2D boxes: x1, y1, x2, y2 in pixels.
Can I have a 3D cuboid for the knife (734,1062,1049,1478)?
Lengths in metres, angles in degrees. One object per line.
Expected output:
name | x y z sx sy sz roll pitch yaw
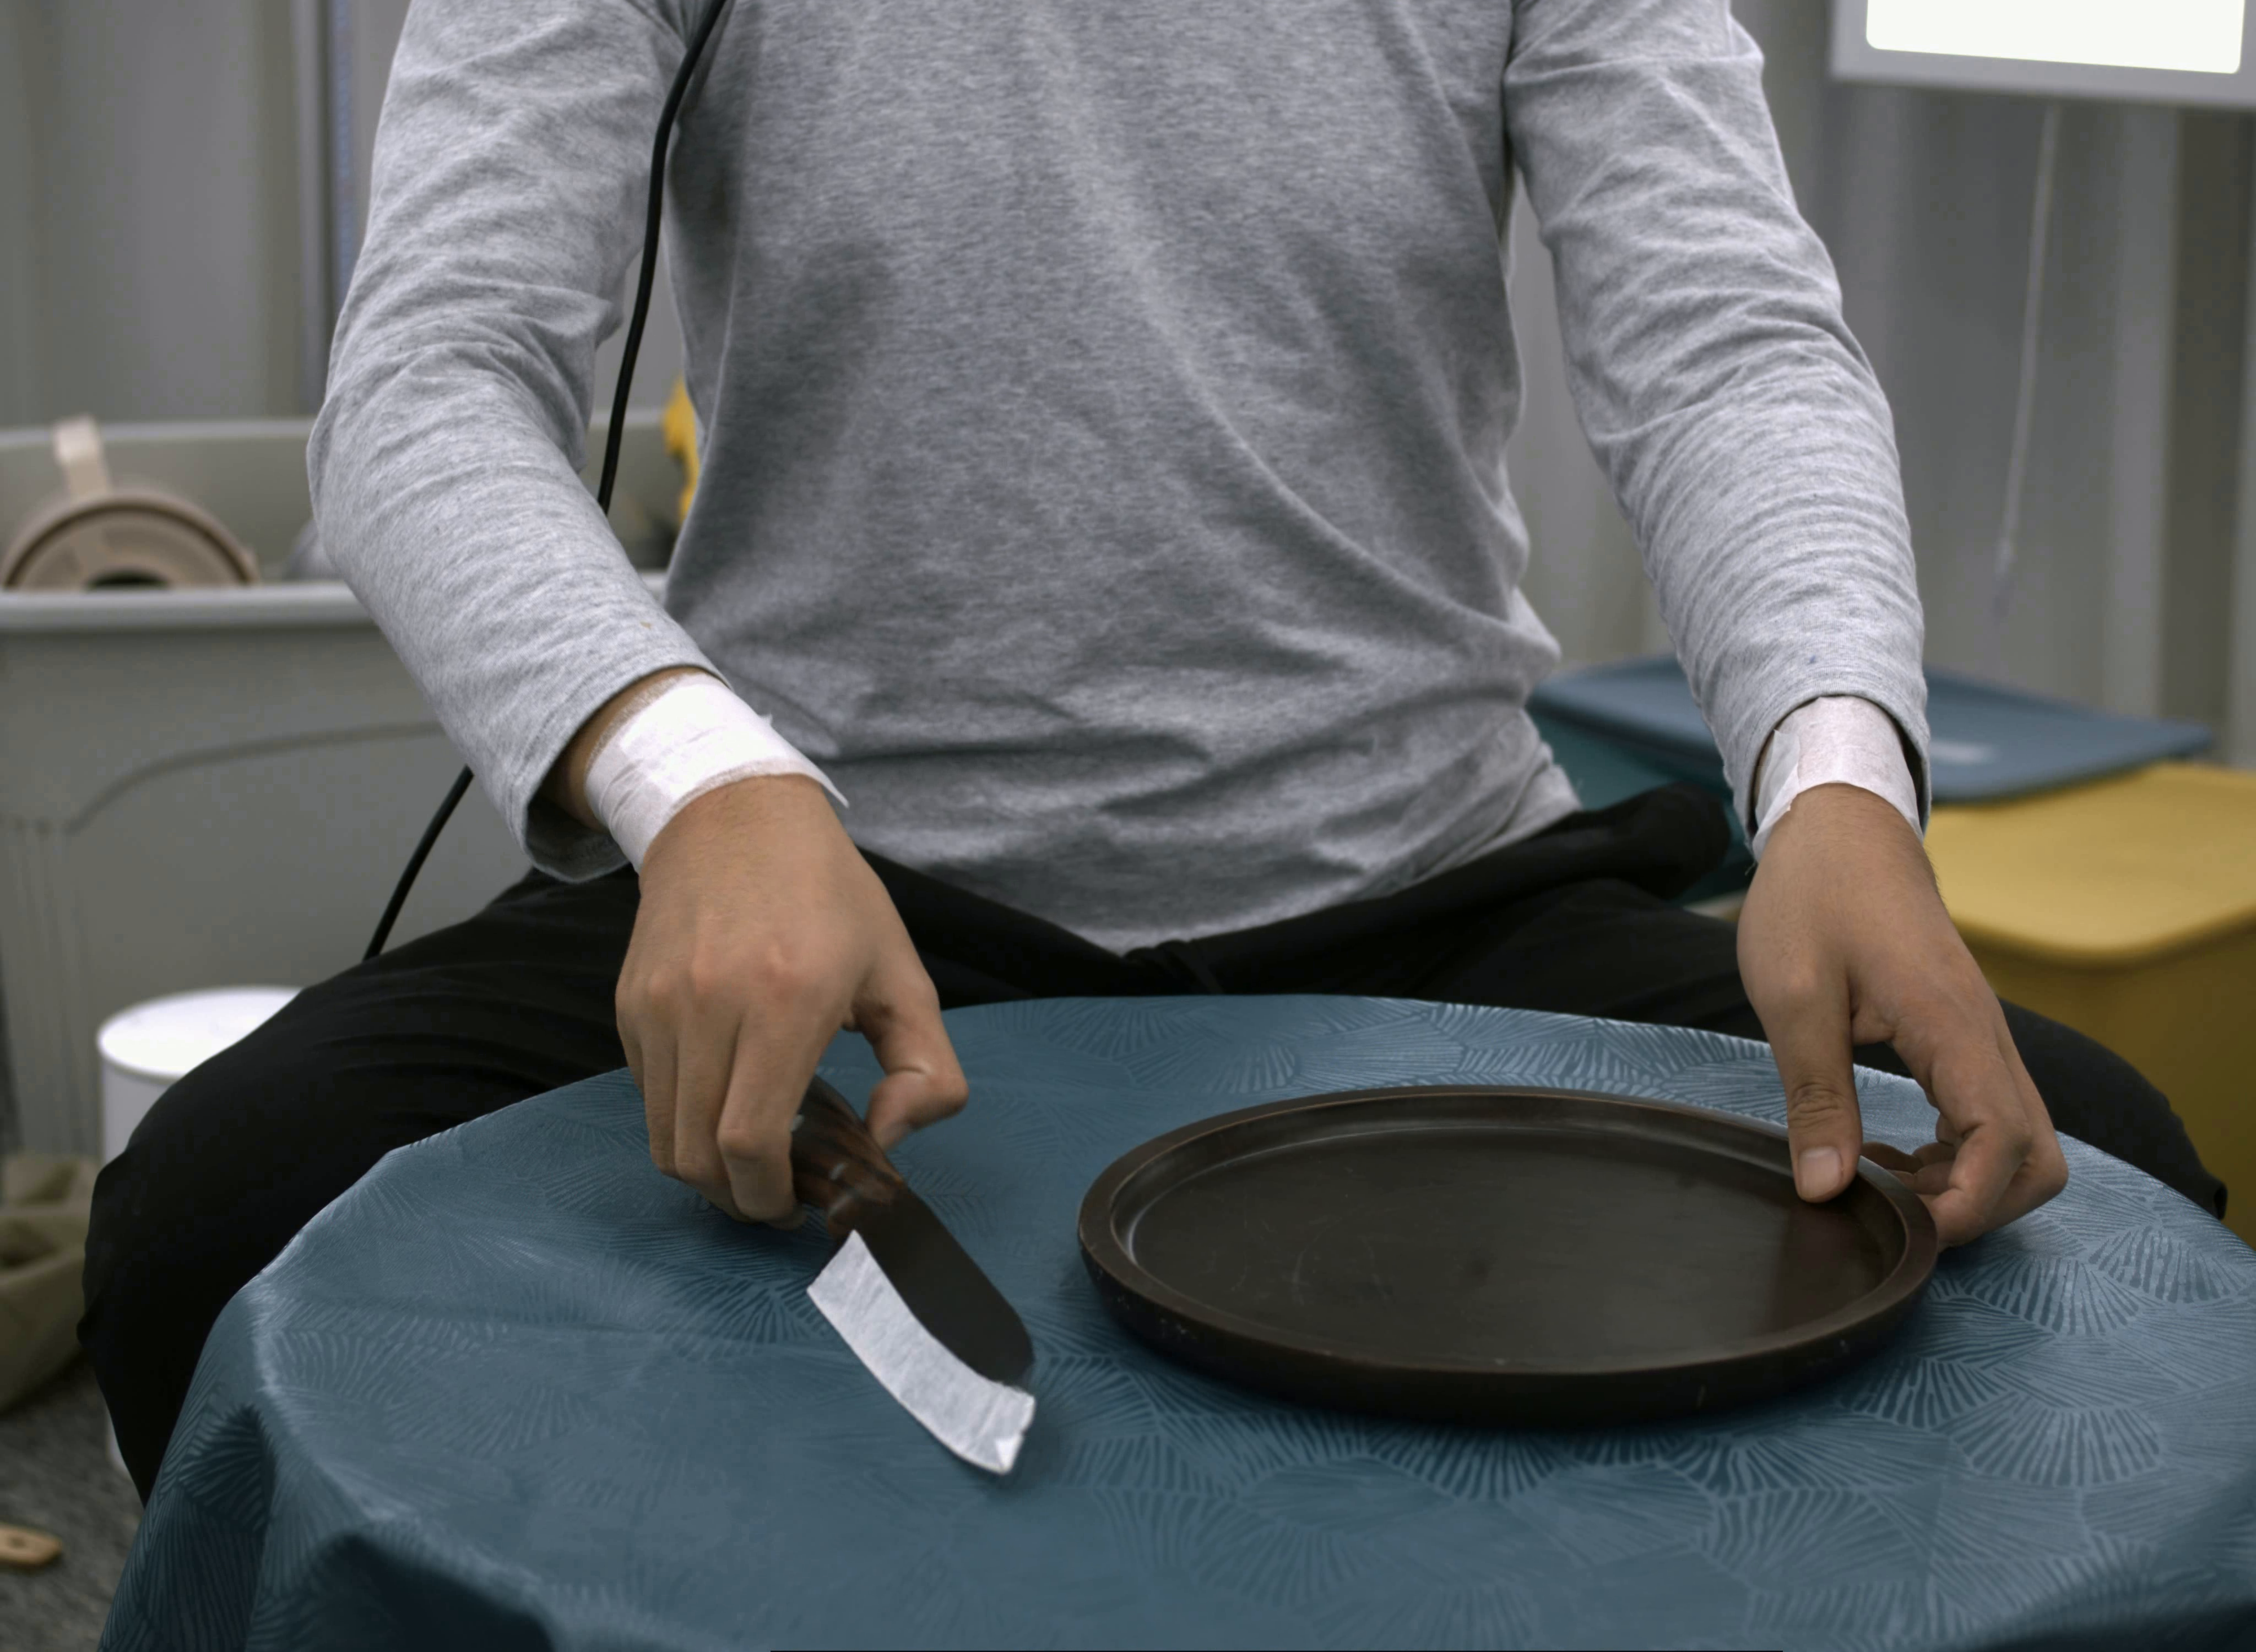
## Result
knife | -0.070 0.125 1.514 0.050 0.020 0.286 -46 25 1

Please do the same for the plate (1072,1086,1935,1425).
plate | 0.110 0.123 1.544 0.254 0.029 0.253 -1 15 1
